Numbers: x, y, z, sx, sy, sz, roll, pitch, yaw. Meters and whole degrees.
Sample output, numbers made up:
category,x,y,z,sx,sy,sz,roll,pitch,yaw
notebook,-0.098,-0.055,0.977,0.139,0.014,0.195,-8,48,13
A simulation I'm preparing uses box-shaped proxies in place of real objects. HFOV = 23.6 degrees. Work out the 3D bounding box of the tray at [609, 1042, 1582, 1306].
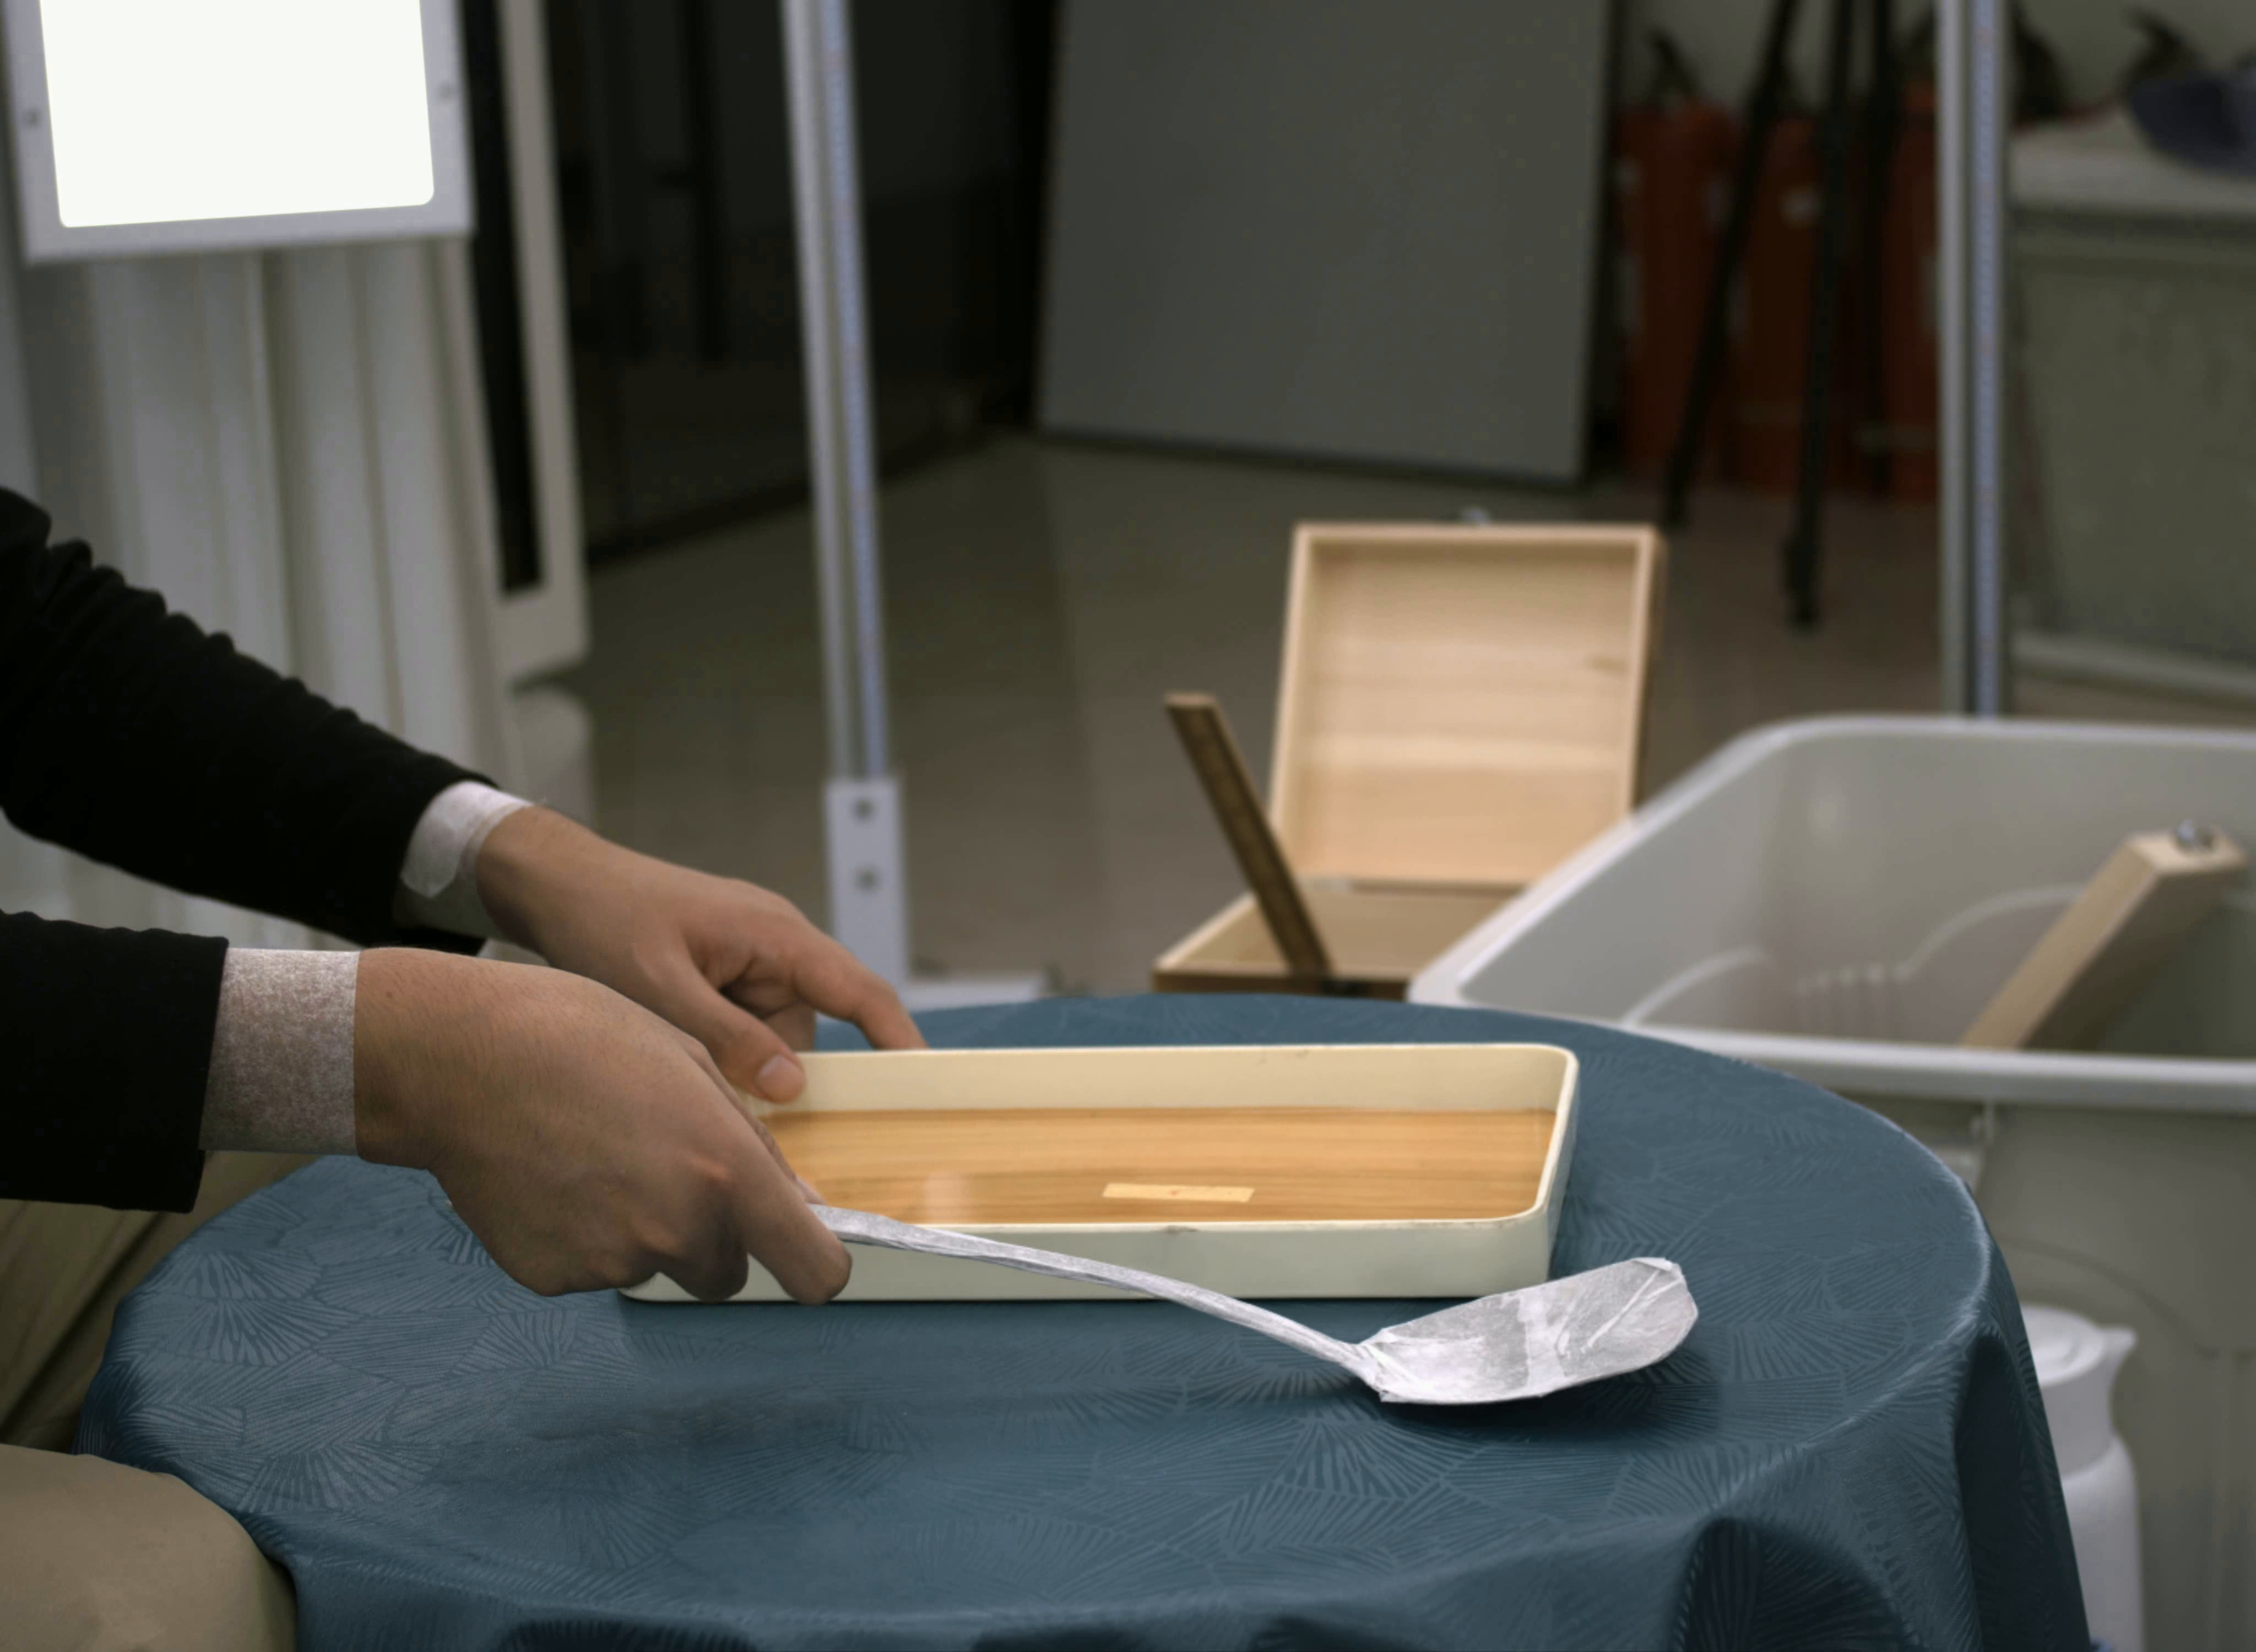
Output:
category,x,y,z,sx,sy,sz,roll,pitch,yaw
tray,-0.005,0.112,1.751,0.298,0.028,0.191,-2,14,11

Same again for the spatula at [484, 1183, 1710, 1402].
category,x,y,z,sx,sy,sz,roll,pitch,yaw
spatula,-0.011,0.126,1.577,0.361,0.045,0.098,10,15,3
